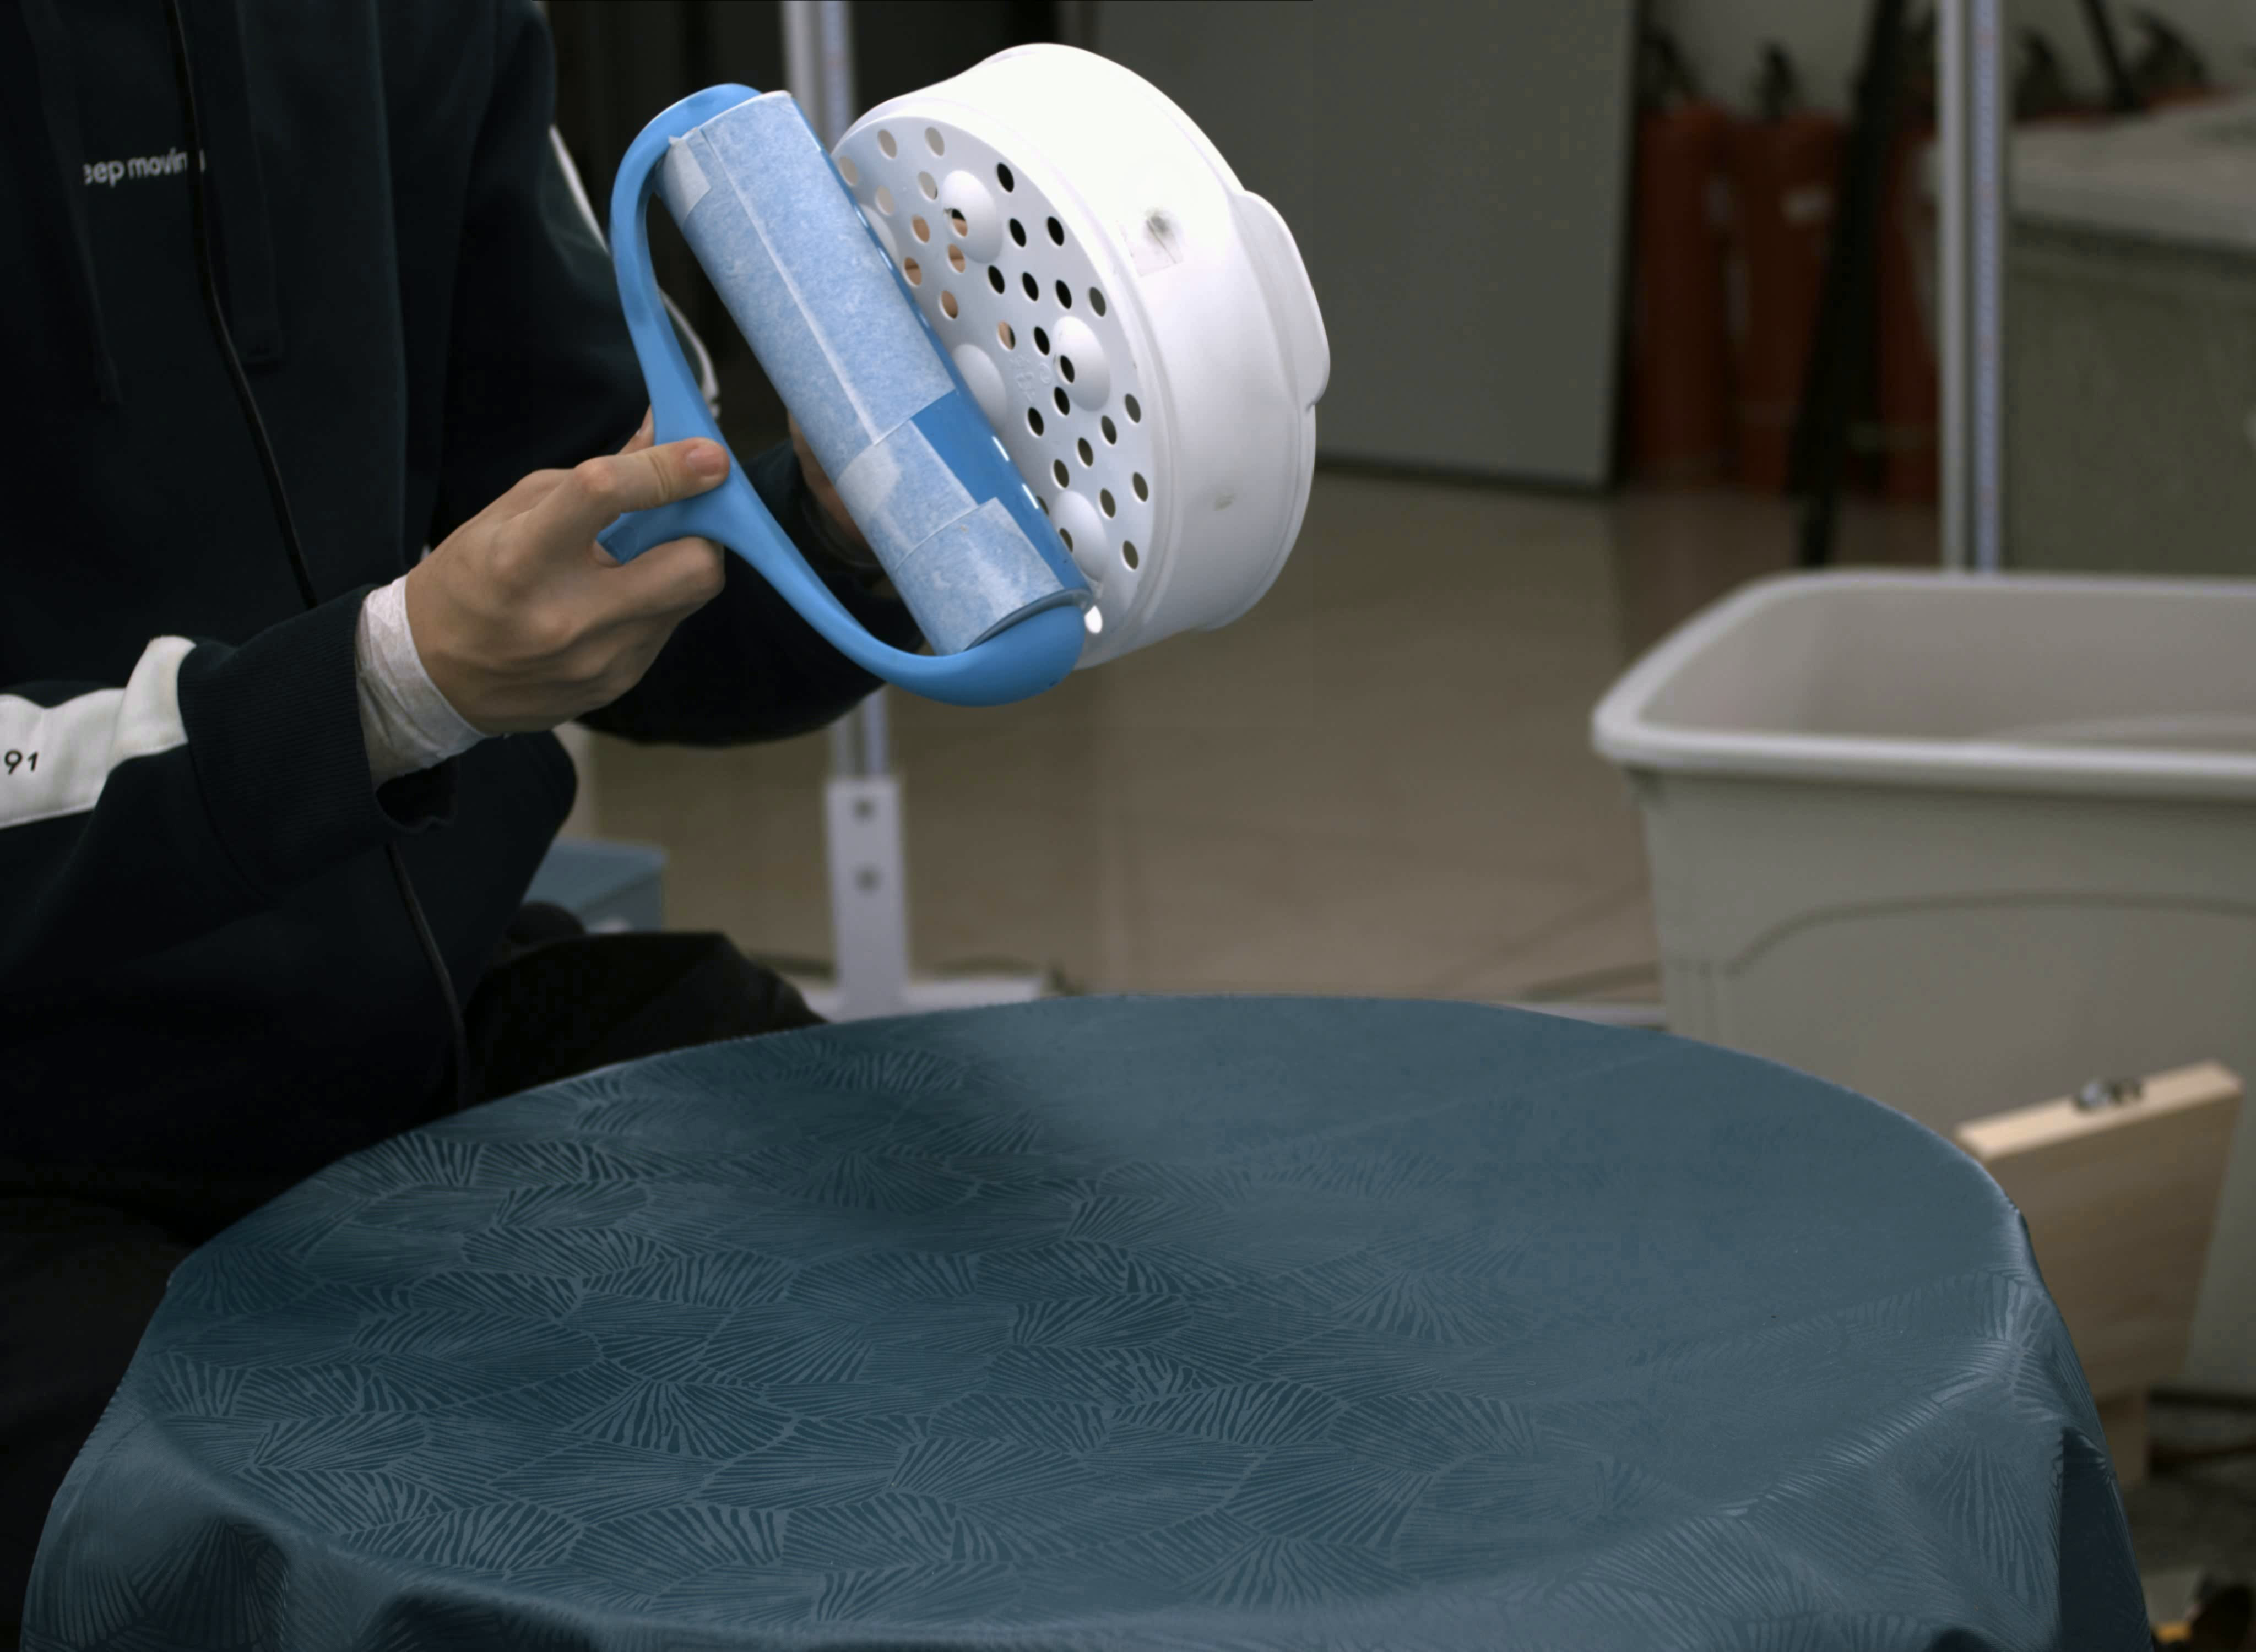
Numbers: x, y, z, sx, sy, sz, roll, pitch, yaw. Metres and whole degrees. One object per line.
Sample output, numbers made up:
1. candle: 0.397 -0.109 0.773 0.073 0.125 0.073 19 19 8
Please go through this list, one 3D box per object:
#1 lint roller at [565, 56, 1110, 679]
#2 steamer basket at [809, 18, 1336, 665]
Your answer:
1. lint roller: -0.122 -0.110 1.731 0.181 0.231 0.067 -40 -14 18
2. steamer basket: -0.027 -0.152 1.738 0.068 0.204 0.233 -21 6 -35
